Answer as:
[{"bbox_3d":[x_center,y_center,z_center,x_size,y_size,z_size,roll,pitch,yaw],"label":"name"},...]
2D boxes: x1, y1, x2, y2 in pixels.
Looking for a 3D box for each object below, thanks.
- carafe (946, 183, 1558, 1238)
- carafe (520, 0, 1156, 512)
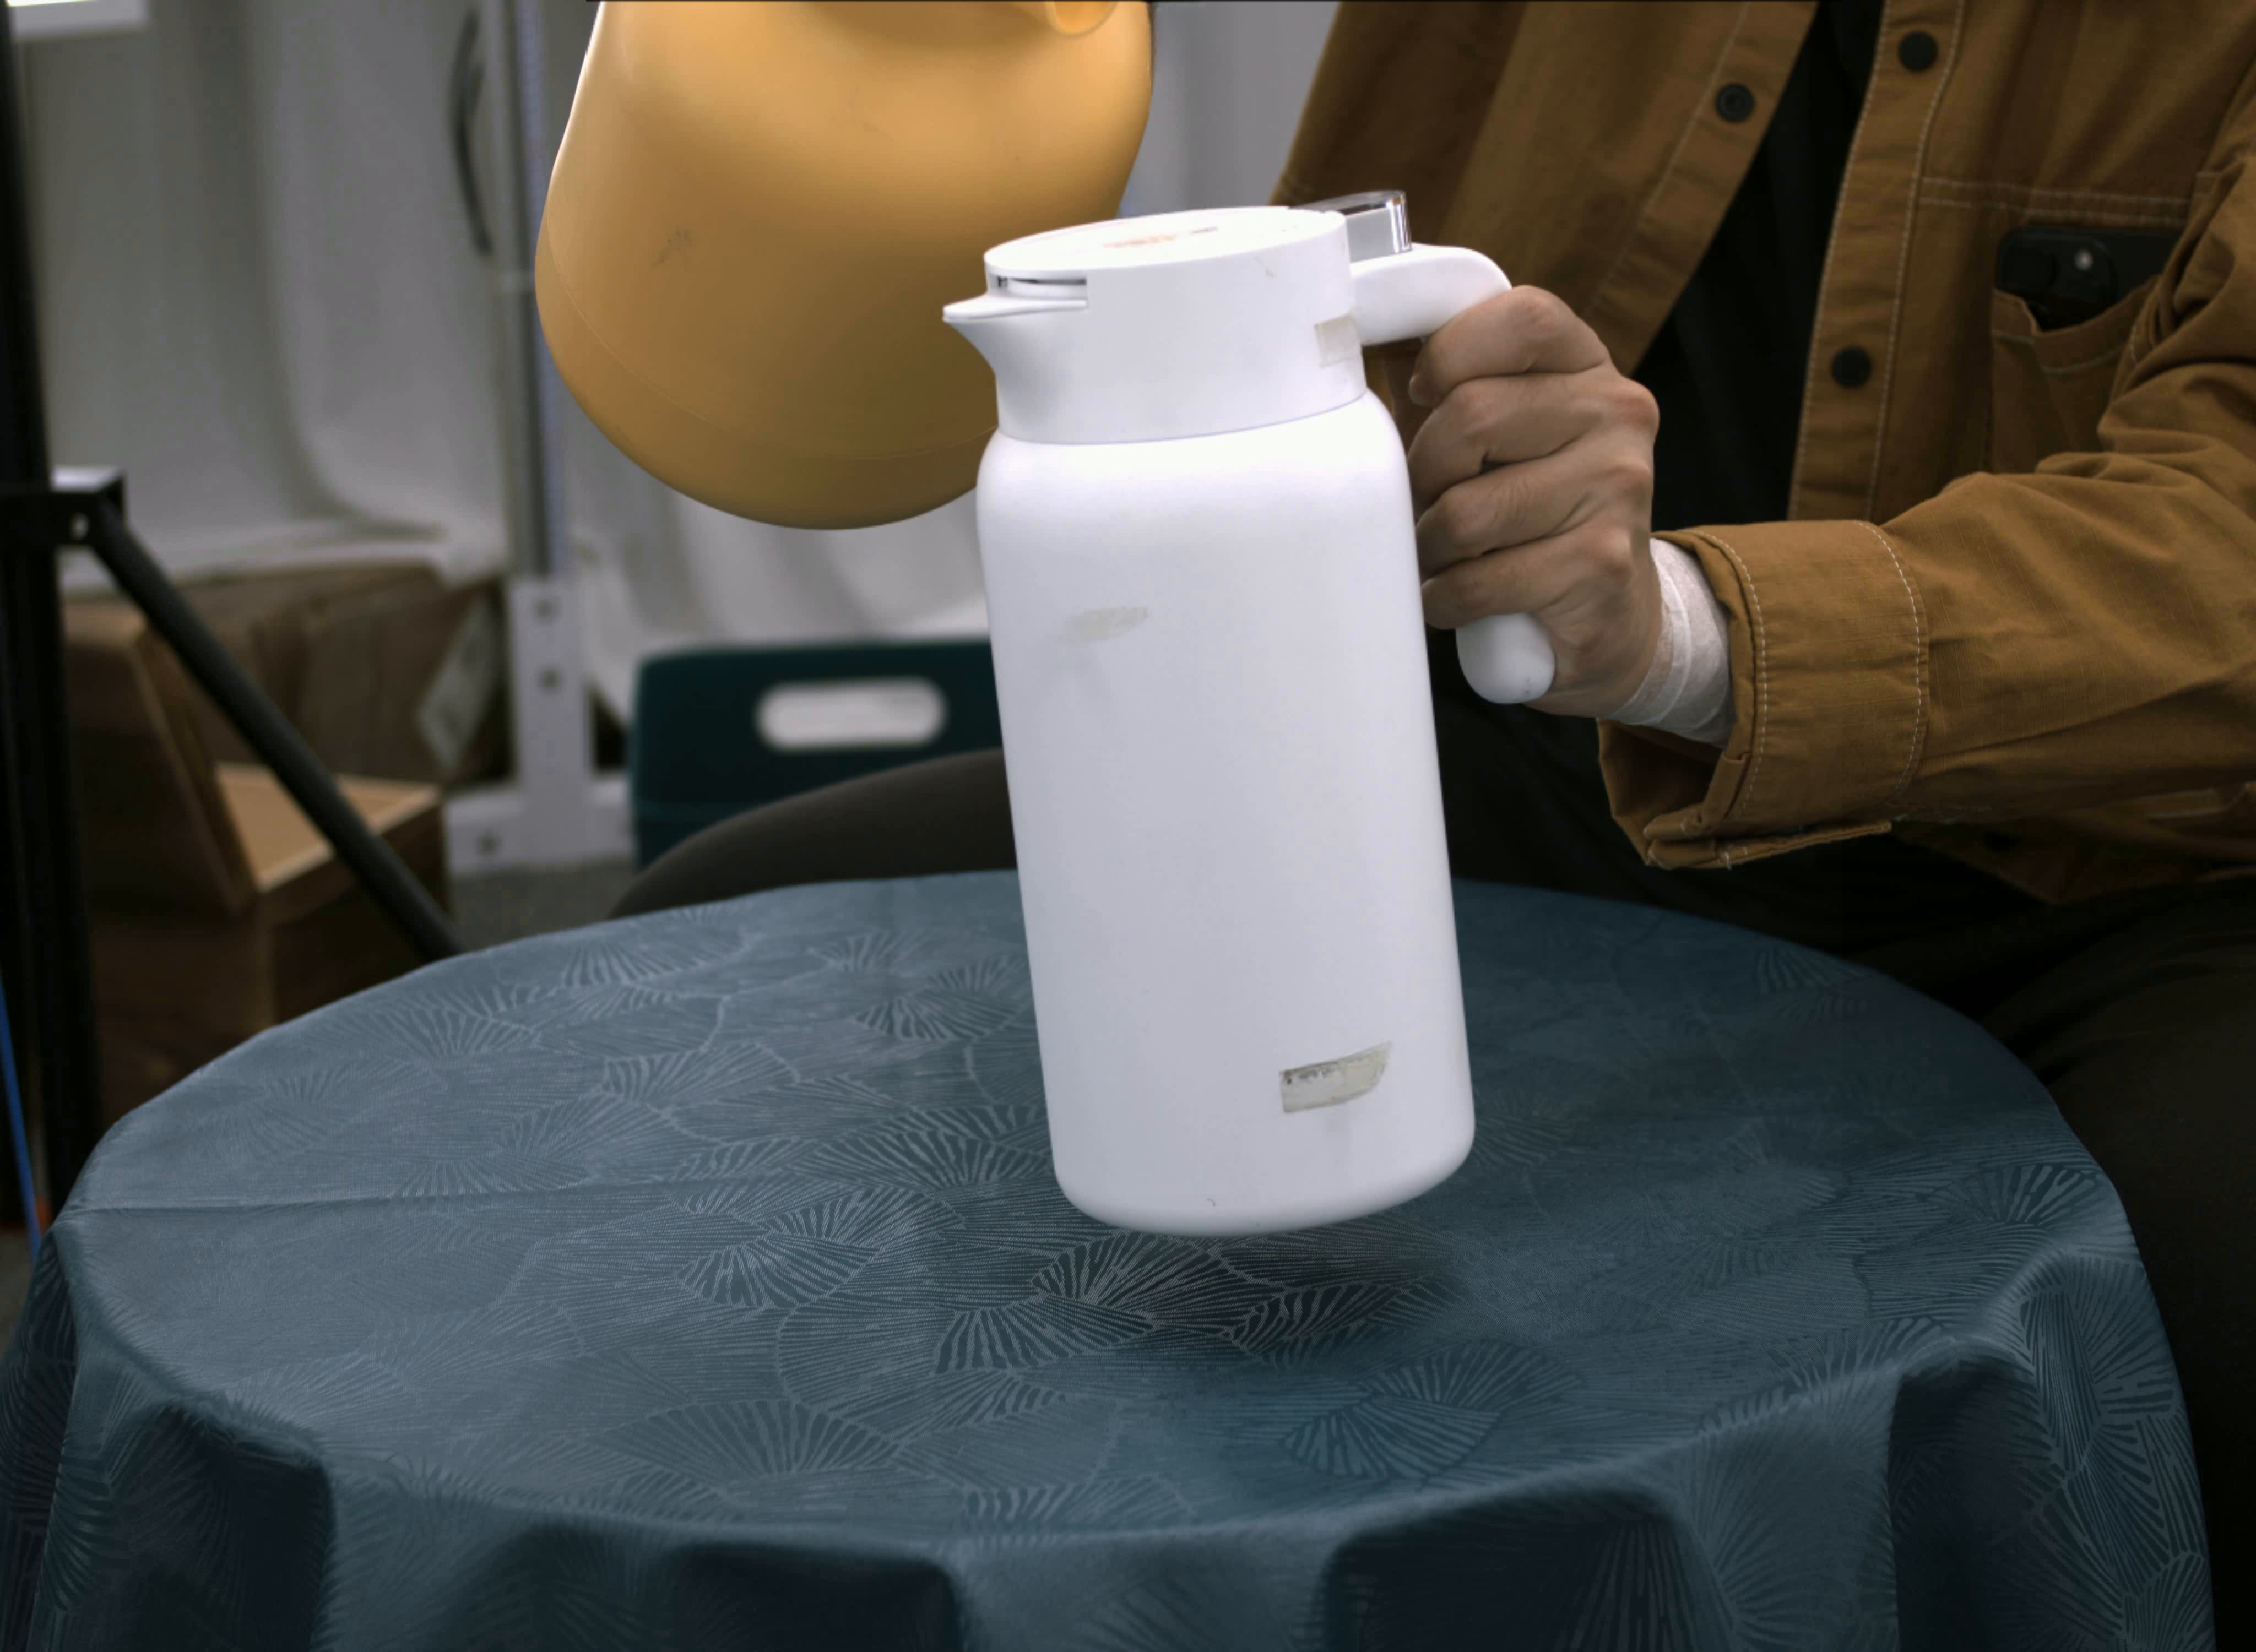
[{"bbox_3d":[0.039,-0.034,1.440,0.169,0.269,0.126,-13,12,-28],"label":"carafe"},{"bbox_3d":[-0.083,-0.234,1.543,0.160,0.261,0.205,-16,64,-30],"label":"carafe"}]
